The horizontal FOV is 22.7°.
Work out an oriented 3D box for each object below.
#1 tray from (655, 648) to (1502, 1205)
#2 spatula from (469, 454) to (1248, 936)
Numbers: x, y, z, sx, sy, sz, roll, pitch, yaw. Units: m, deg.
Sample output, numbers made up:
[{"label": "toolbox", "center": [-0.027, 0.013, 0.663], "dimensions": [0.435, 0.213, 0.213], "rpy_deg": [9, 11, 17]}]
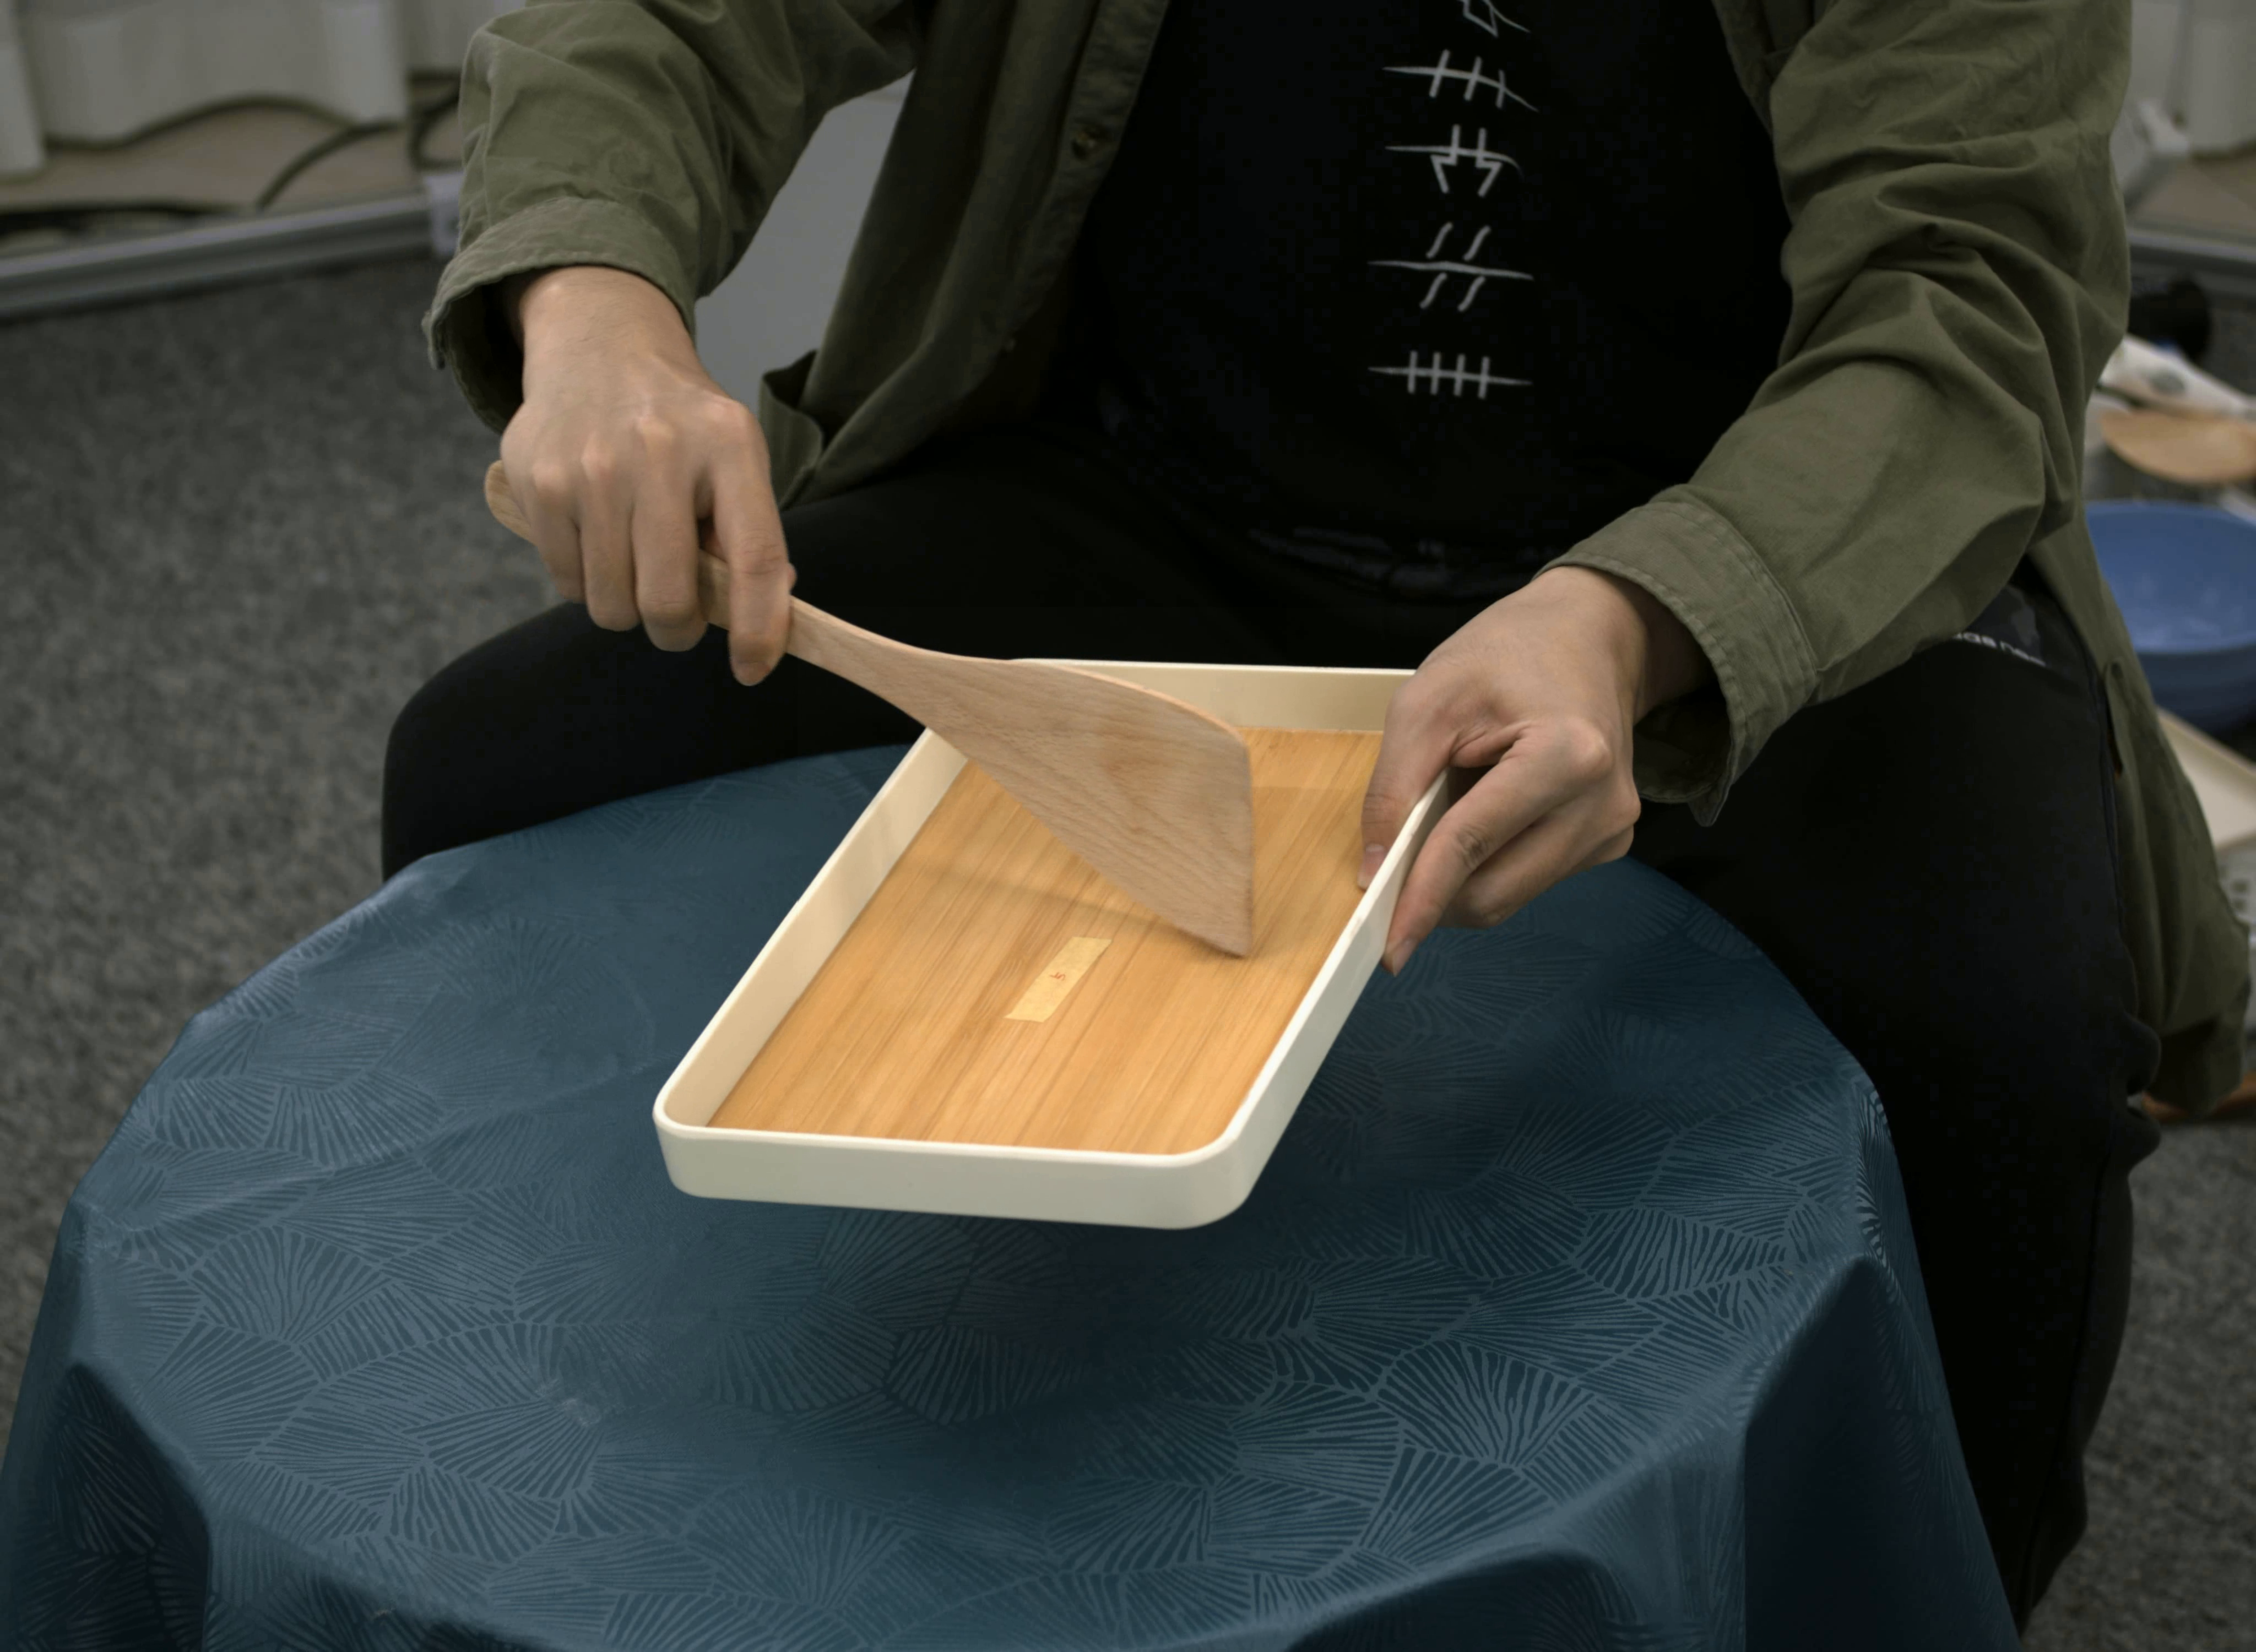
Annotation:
[{"label": "tray", "center": [-0.009, 0.026, 1.791], "dimensions": [0.190, 0.027, 0.305], "rpy_deg": [3, 29, 21]}, {"label": "spatula", "center": [-0.090, -0.057, 1.826], "dimensions": [0.327, 0.079, 0.017], "rpy_deg": [24, 33, 26]}]
